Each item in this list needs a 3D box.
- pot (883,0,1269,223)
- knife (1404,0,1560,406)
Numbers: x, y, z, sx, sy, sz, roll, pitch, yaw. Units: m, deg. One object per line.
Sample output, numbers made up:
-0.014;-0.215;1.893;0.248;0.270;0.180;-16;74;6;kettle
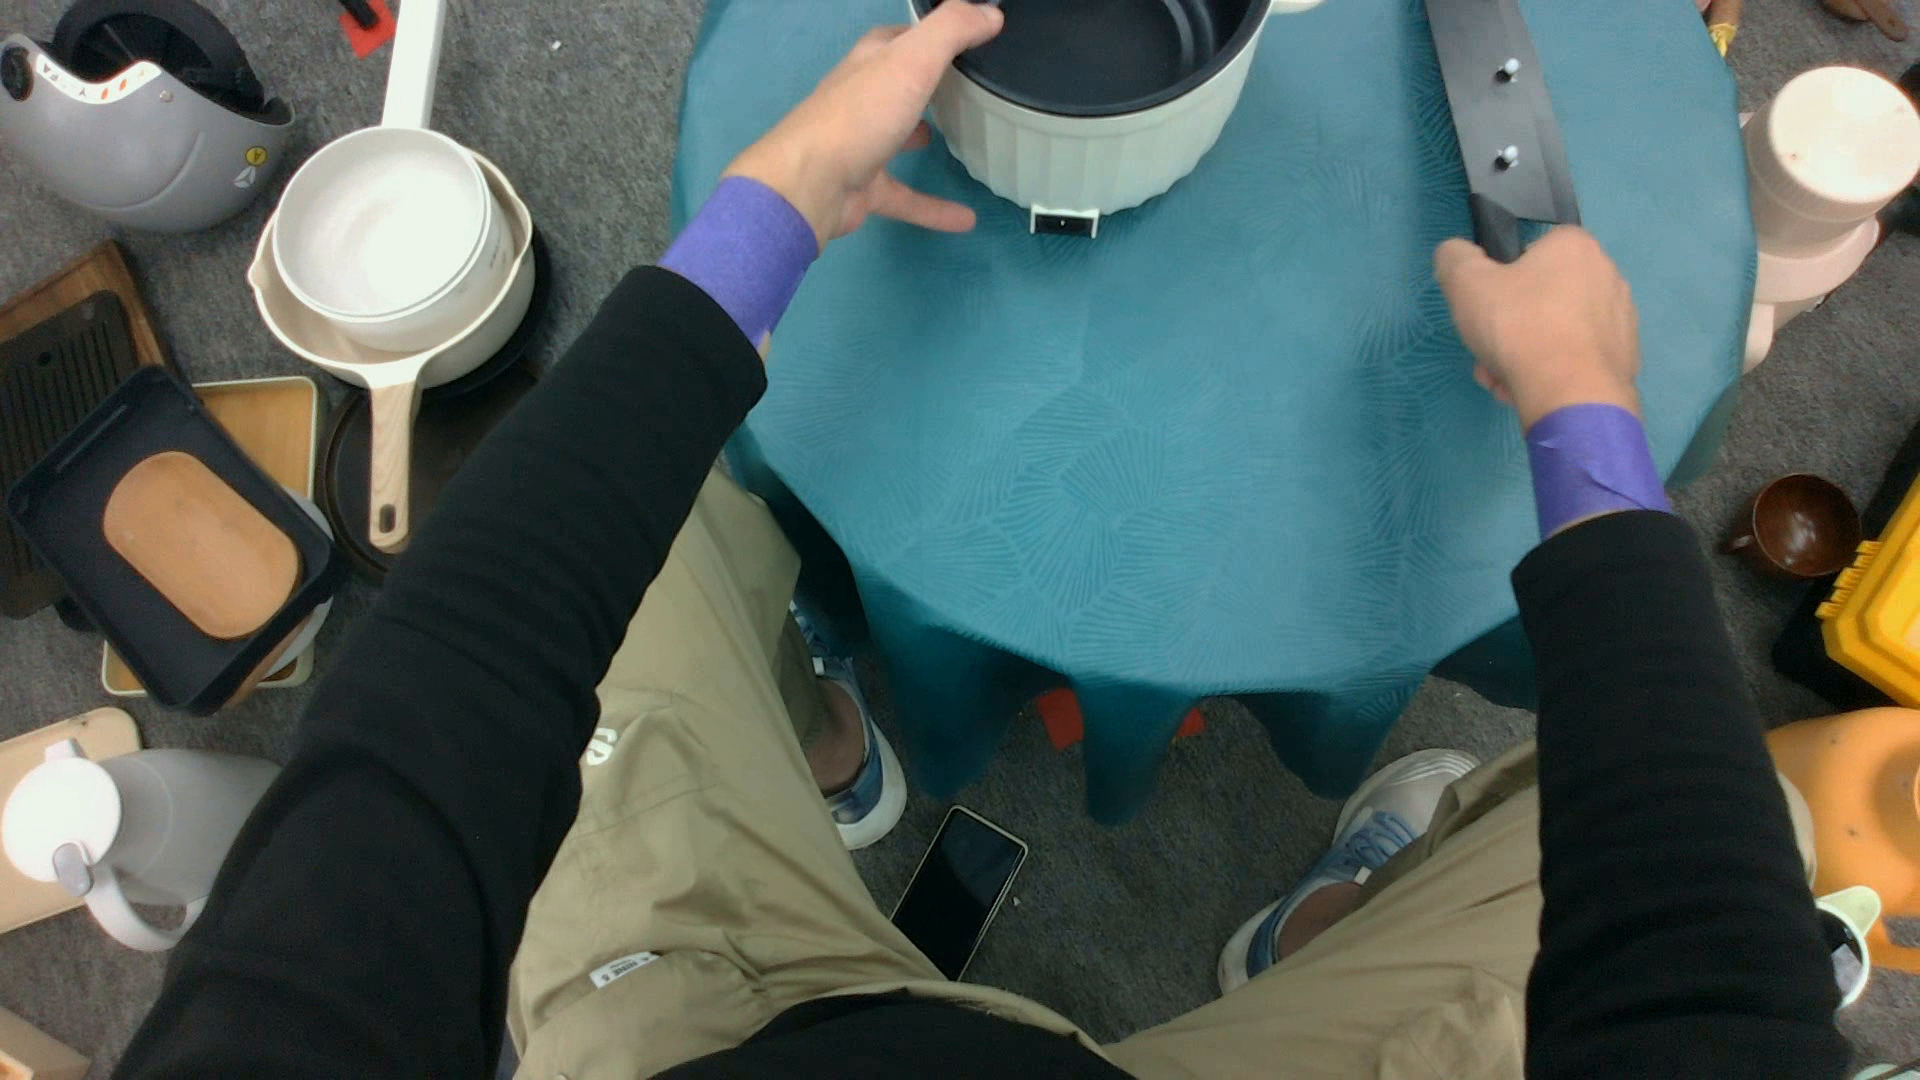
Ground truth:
0.051;-0.281;0.730;0.240;0.142;0.191;4;80;1;pot
0.282;-0.205;0.737;0.081;0.021;0.303;10;63;-17;knife
